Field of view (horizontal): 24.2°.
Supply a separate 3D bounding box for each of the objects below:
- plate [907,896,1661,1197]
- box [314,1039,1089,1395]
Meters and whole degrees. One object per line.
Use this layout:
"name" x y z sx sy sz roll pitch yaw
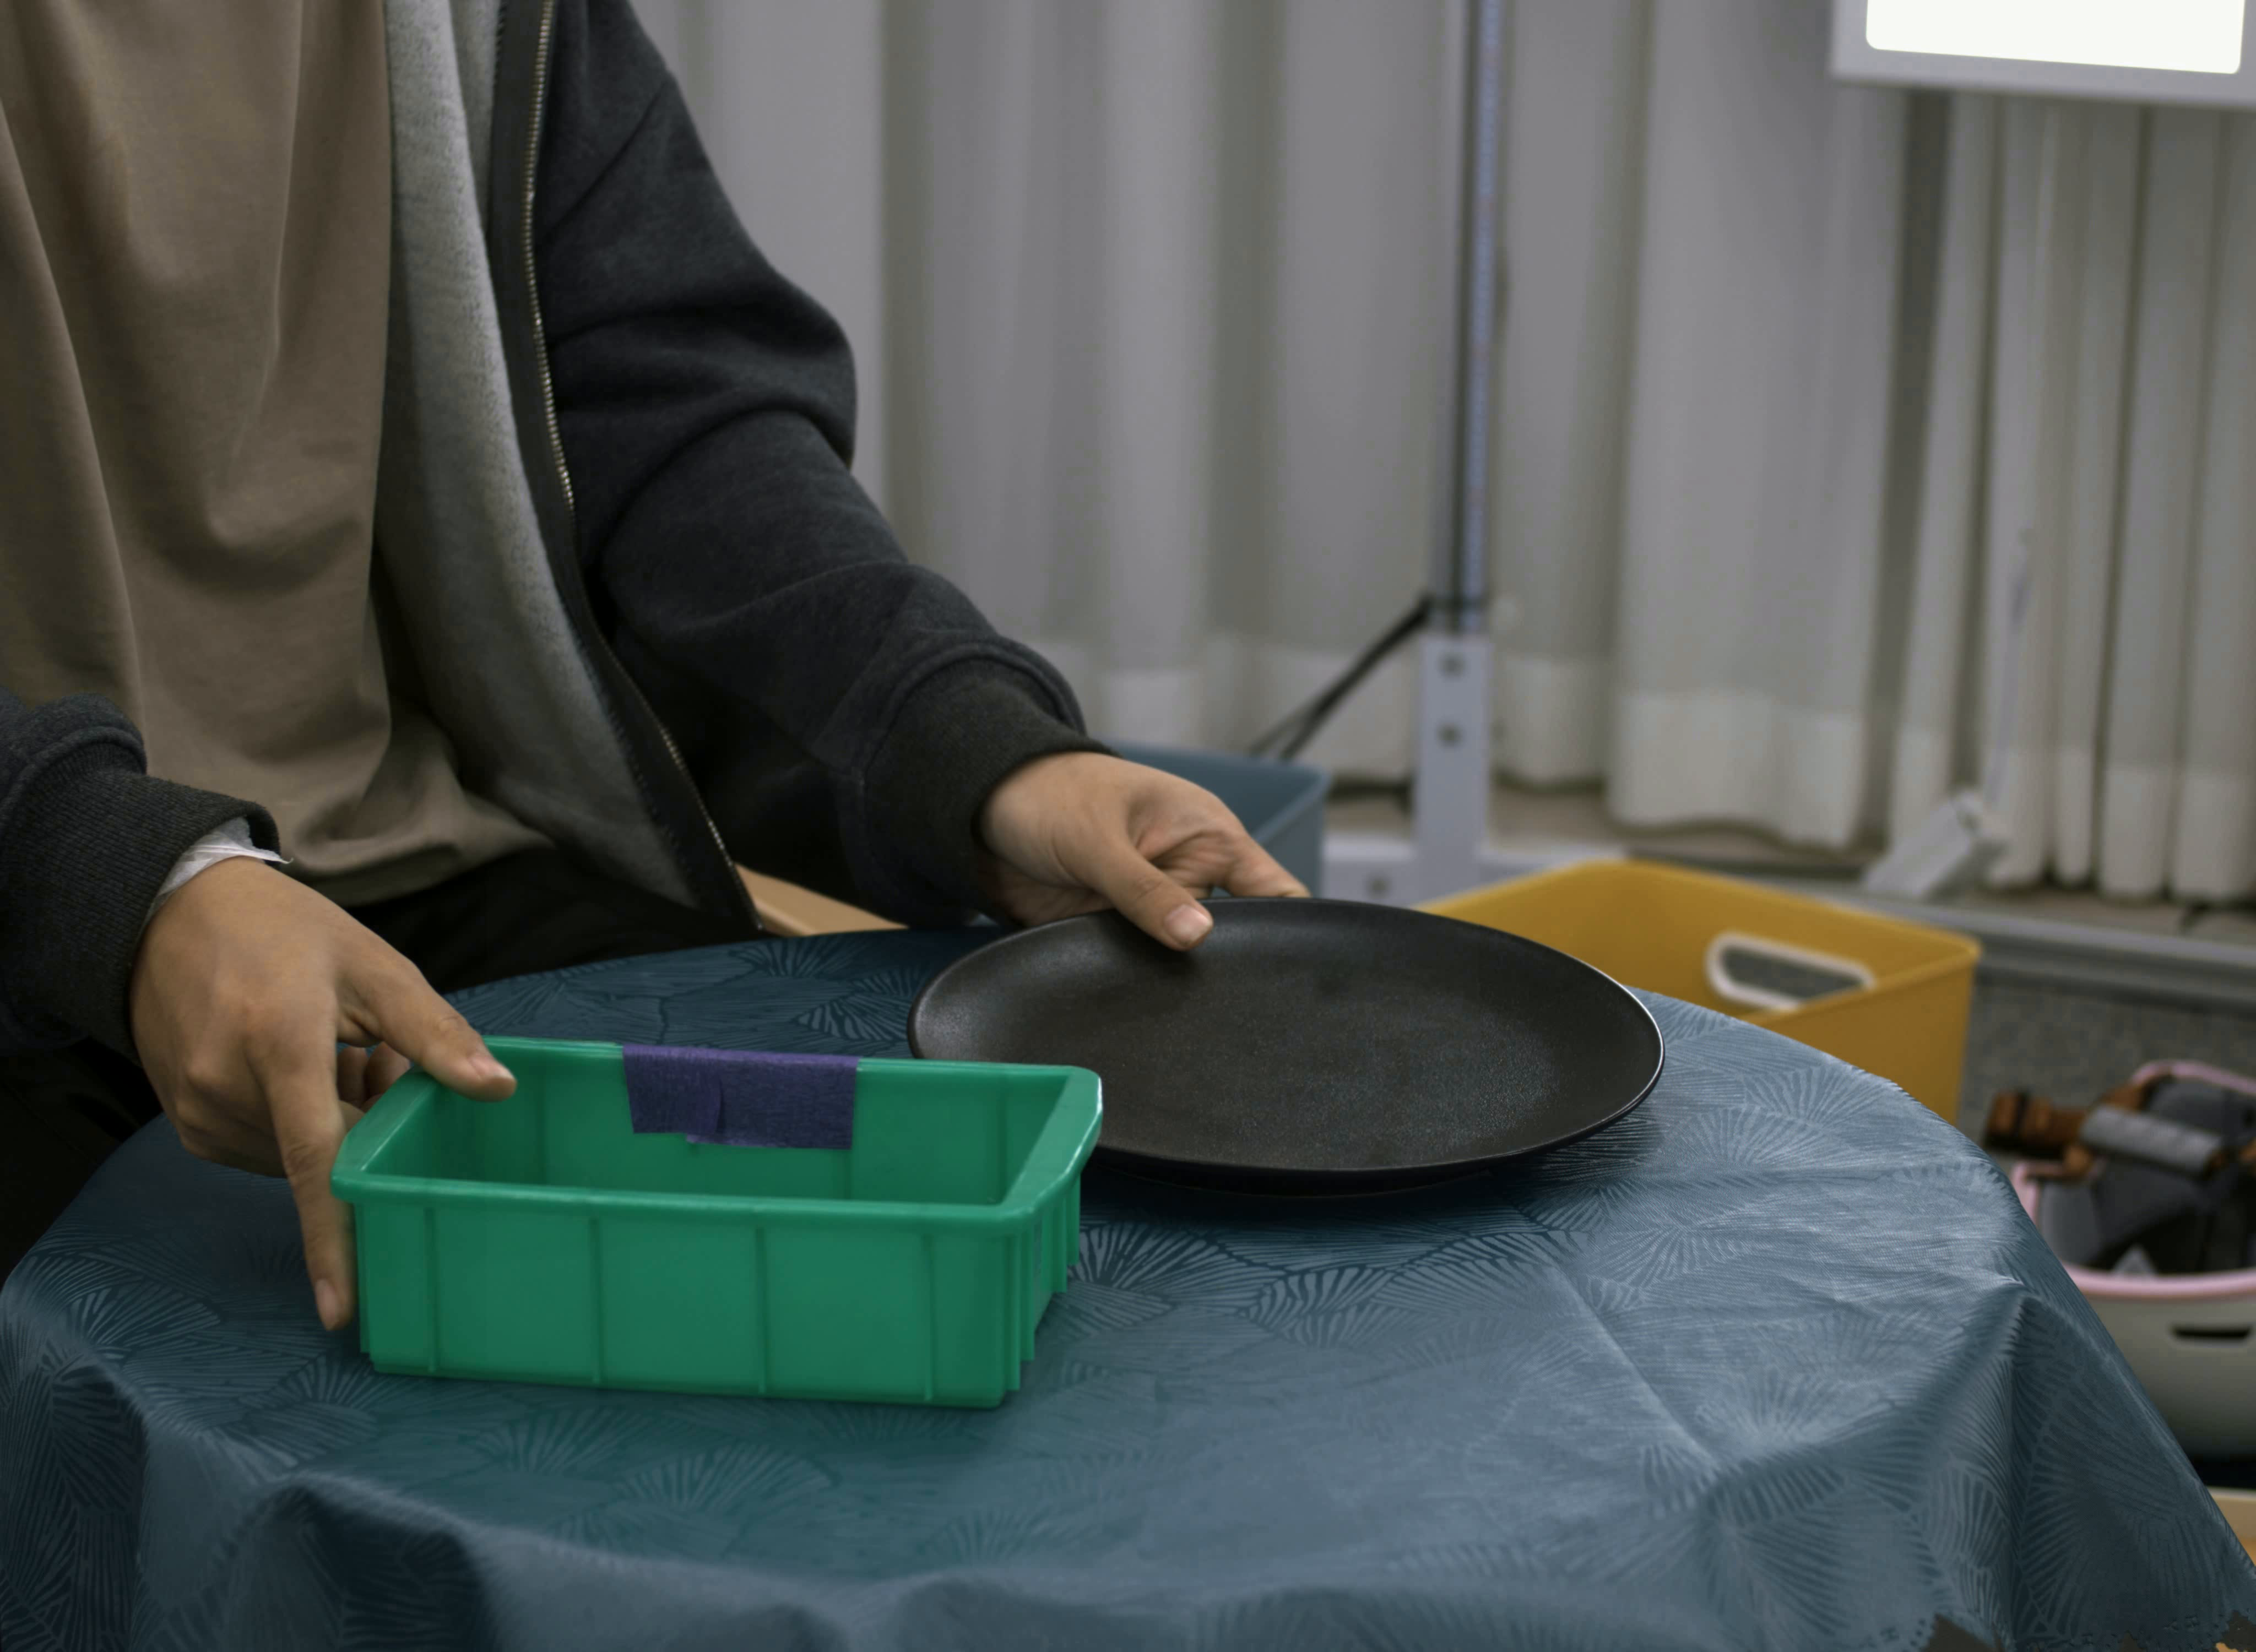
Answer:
"plate" 0.050 0.074 1.698 0.243 0.023 0.243 2 20 0
"box" -0.118 0.111 1.503 0.209 0.066 0.138 1 14 7
